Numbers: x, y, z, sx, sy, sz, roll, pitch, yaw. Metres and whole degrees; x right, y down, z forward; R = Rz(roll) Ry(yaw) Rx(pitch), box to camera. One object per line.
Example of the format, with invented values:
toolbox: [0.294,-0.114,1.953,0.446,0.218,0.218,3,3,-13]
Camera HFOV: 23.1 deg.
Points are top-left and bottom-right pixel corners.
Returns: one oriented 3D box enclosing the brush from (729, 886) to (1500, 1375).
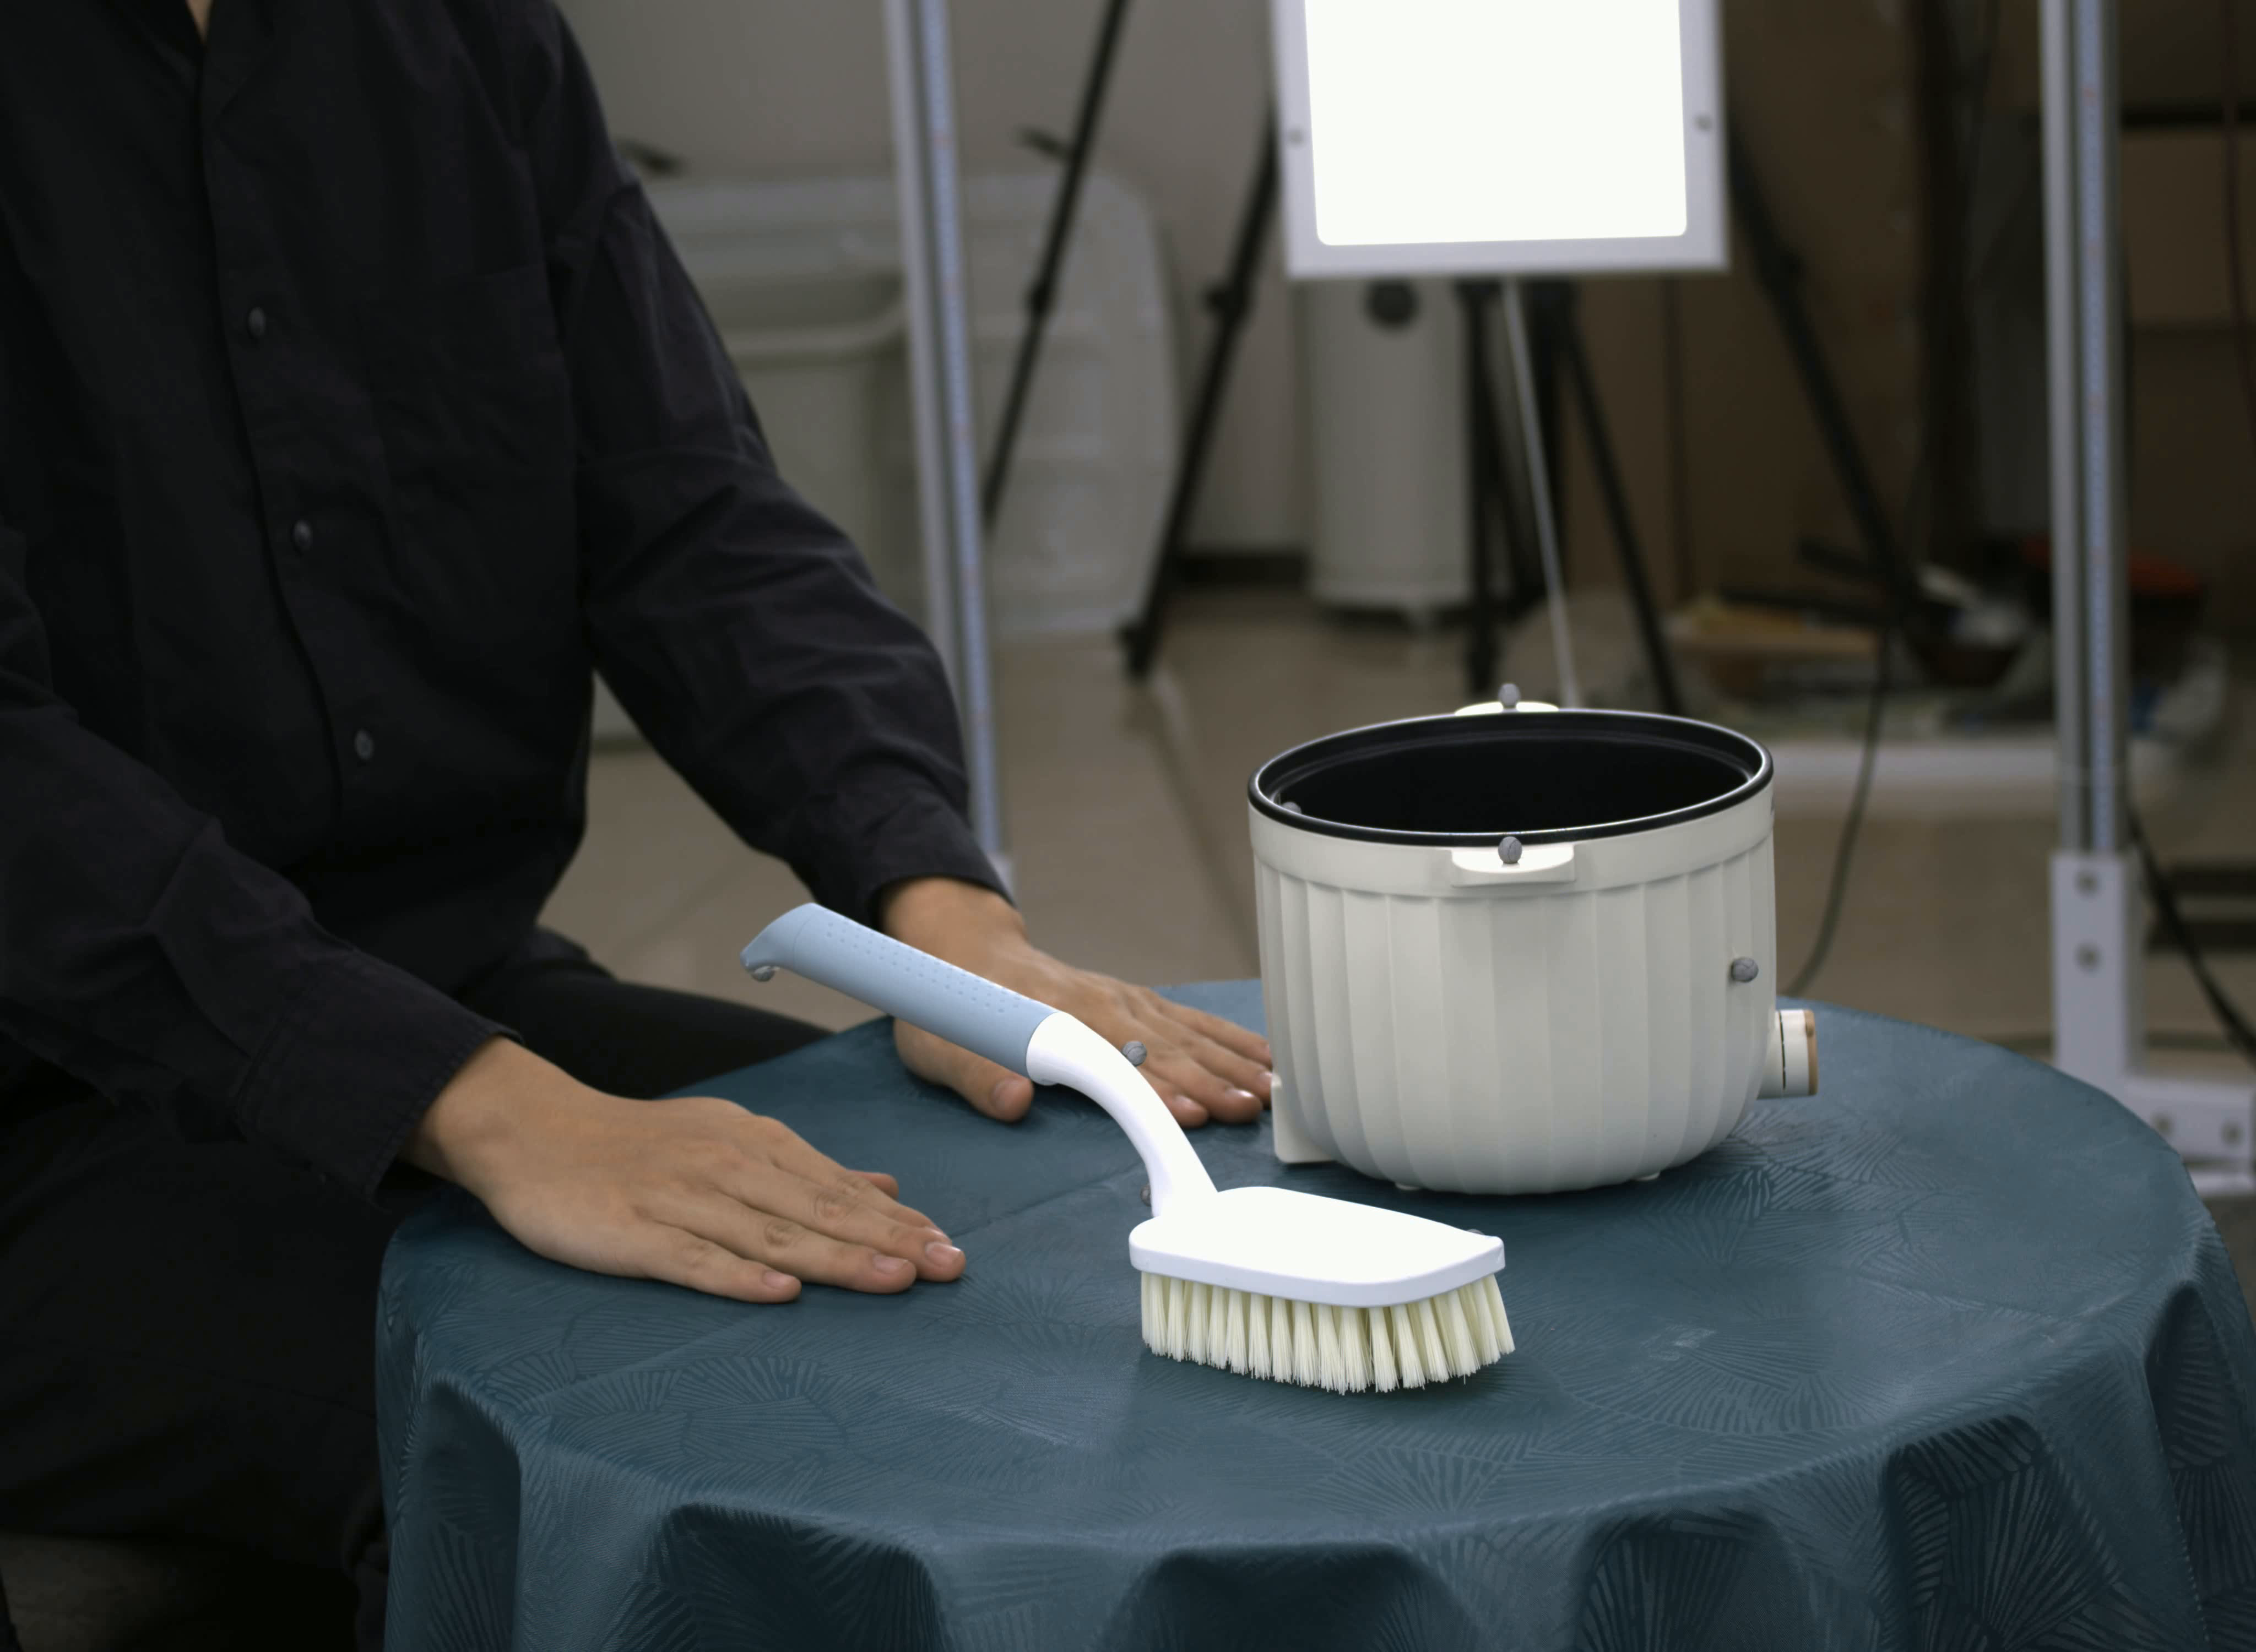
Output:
brush: [-0.010,0.111,1.781,0.331,0.084,0.081,22,-9,38]

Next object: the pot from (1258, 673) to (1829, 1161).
pot: [0.145,0.033,1.908,0.191,0.143,0.239,-6,15,5]
